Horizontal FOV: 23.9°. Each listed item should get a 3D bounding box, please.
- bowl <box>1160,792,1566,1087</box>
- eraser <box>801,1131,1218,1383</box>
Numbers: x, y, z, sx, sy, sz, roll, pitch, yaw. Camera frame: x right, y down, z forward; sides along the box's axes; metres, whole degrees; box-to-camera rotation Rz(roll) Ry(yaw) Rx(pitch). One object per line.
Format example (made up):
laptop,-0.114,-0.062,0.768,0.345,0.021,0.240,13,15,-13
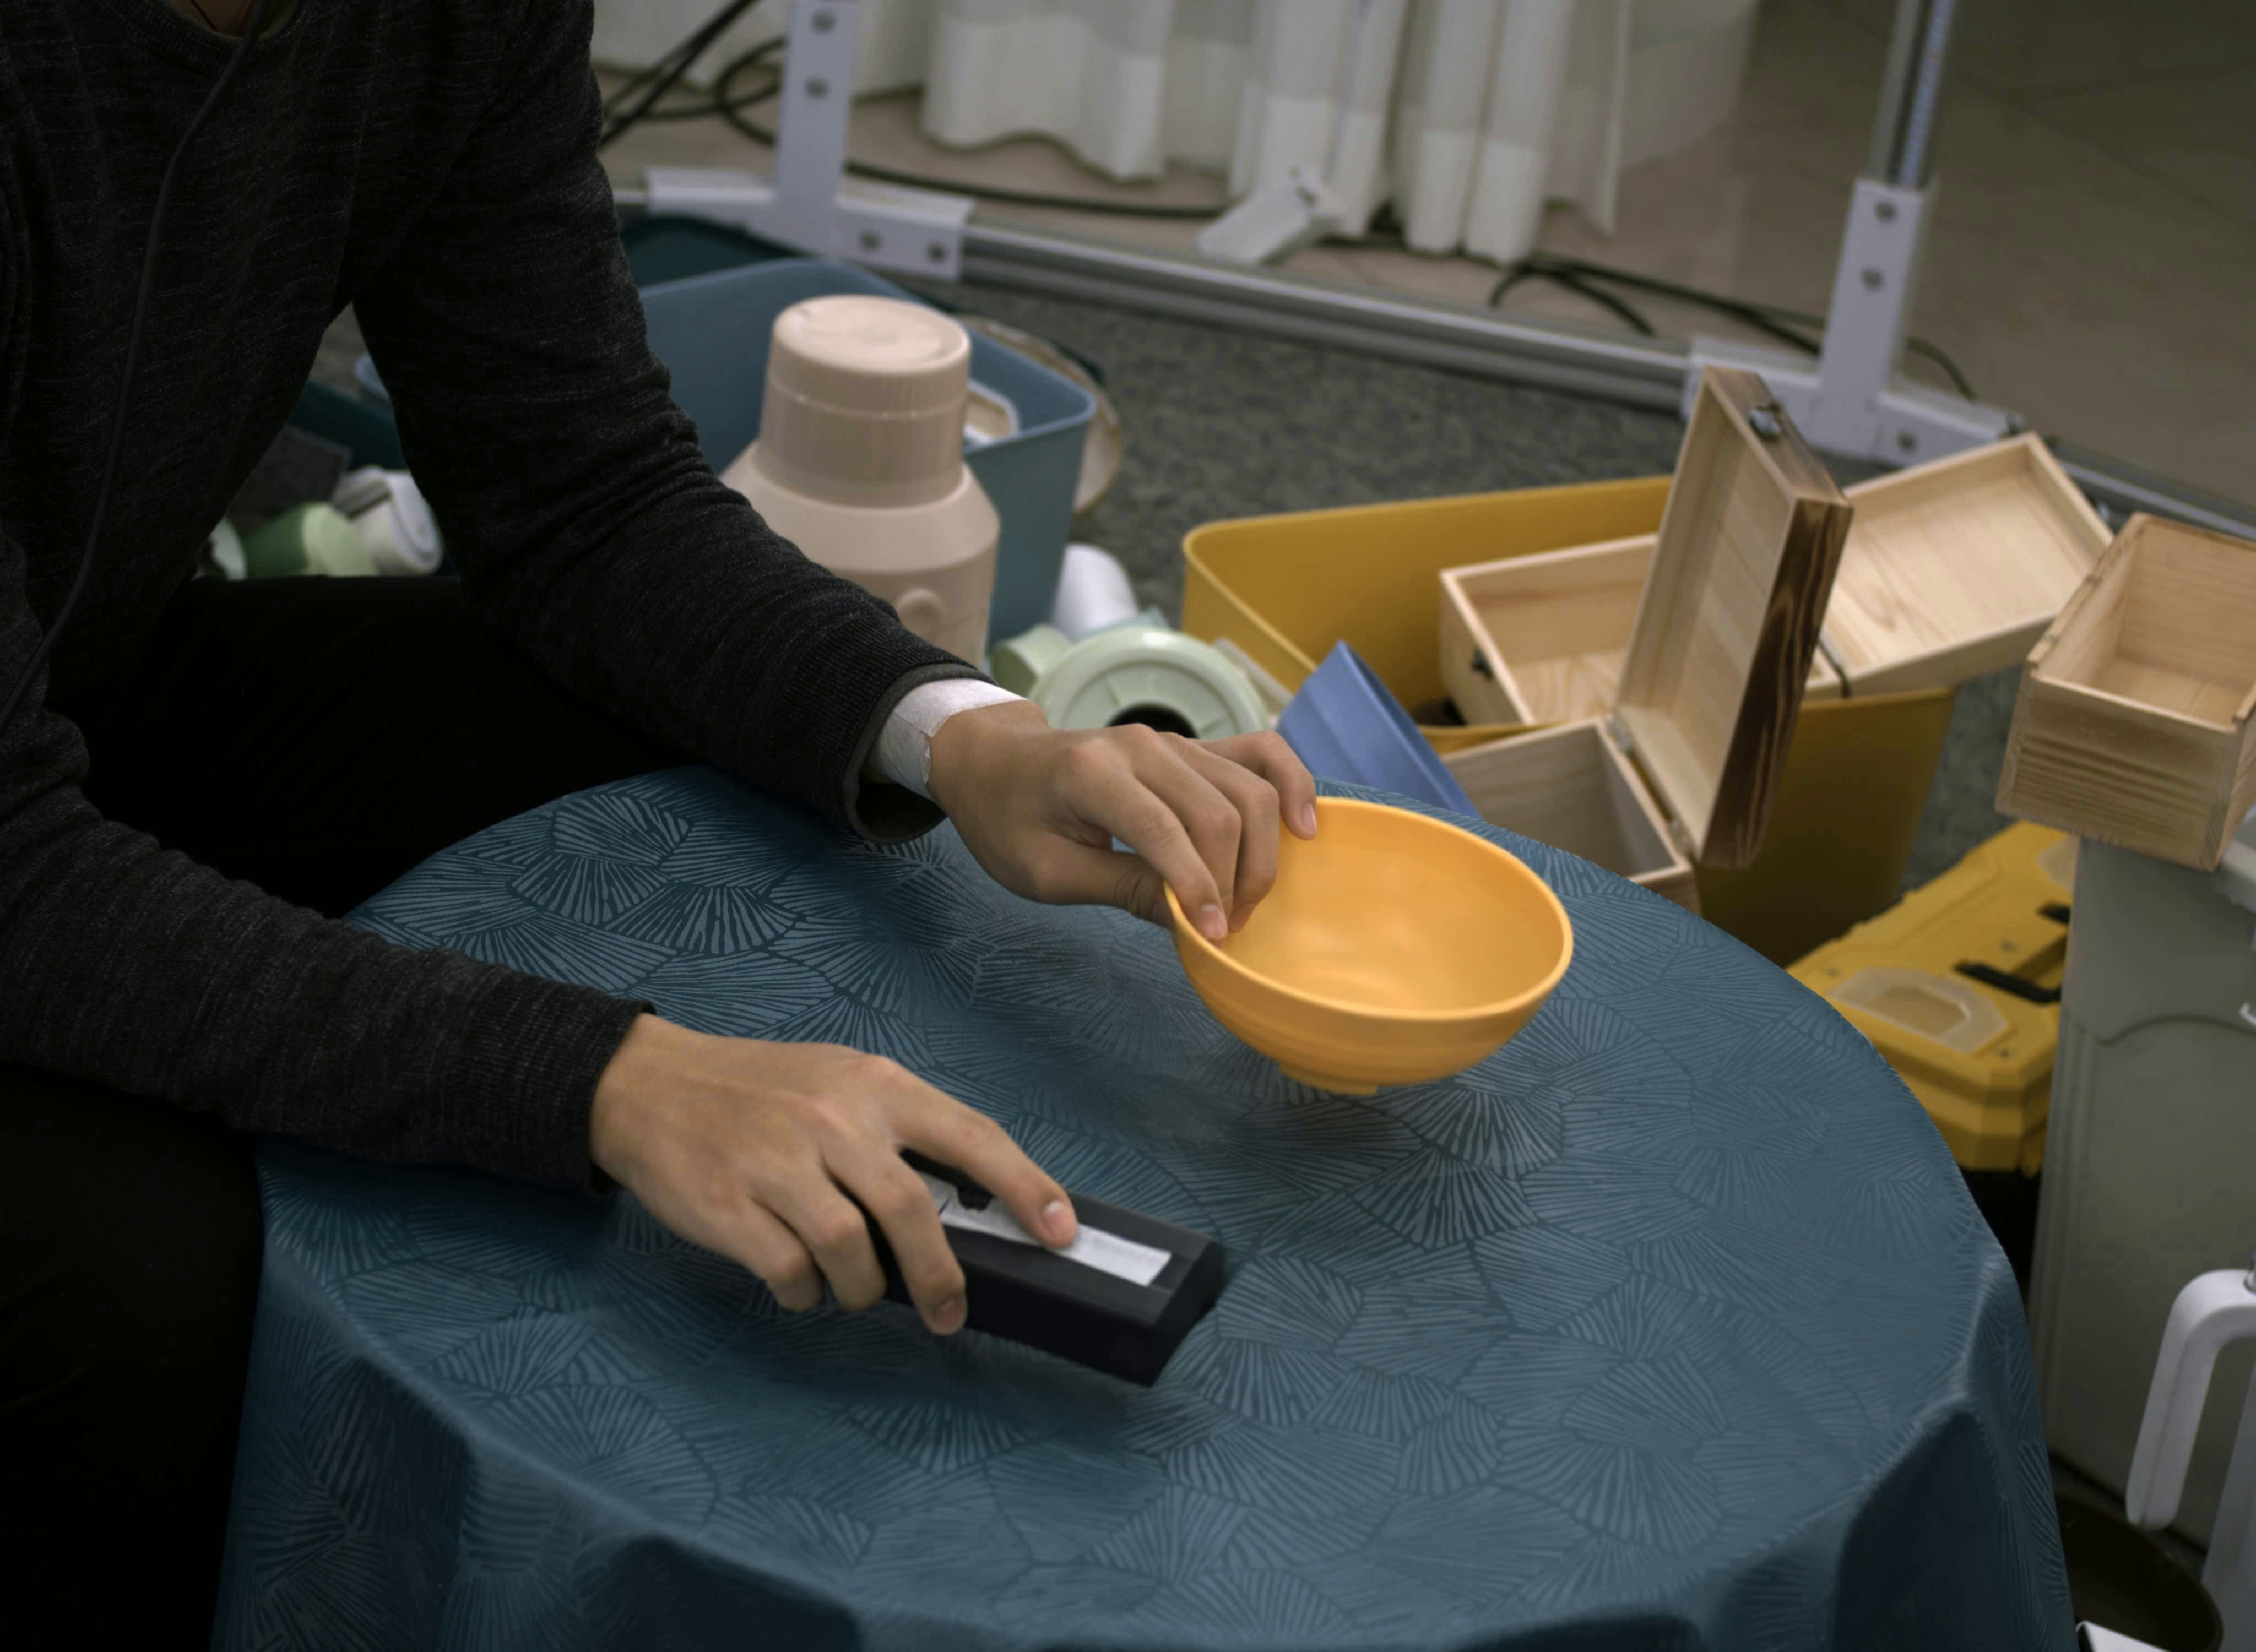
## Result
bowl,0.077,0.049,1.860,0.145,0.060,0.146,9,28,-5
eraser,-0.037,0.135,1.683,0.126,0.030,0.053,16,36,17
